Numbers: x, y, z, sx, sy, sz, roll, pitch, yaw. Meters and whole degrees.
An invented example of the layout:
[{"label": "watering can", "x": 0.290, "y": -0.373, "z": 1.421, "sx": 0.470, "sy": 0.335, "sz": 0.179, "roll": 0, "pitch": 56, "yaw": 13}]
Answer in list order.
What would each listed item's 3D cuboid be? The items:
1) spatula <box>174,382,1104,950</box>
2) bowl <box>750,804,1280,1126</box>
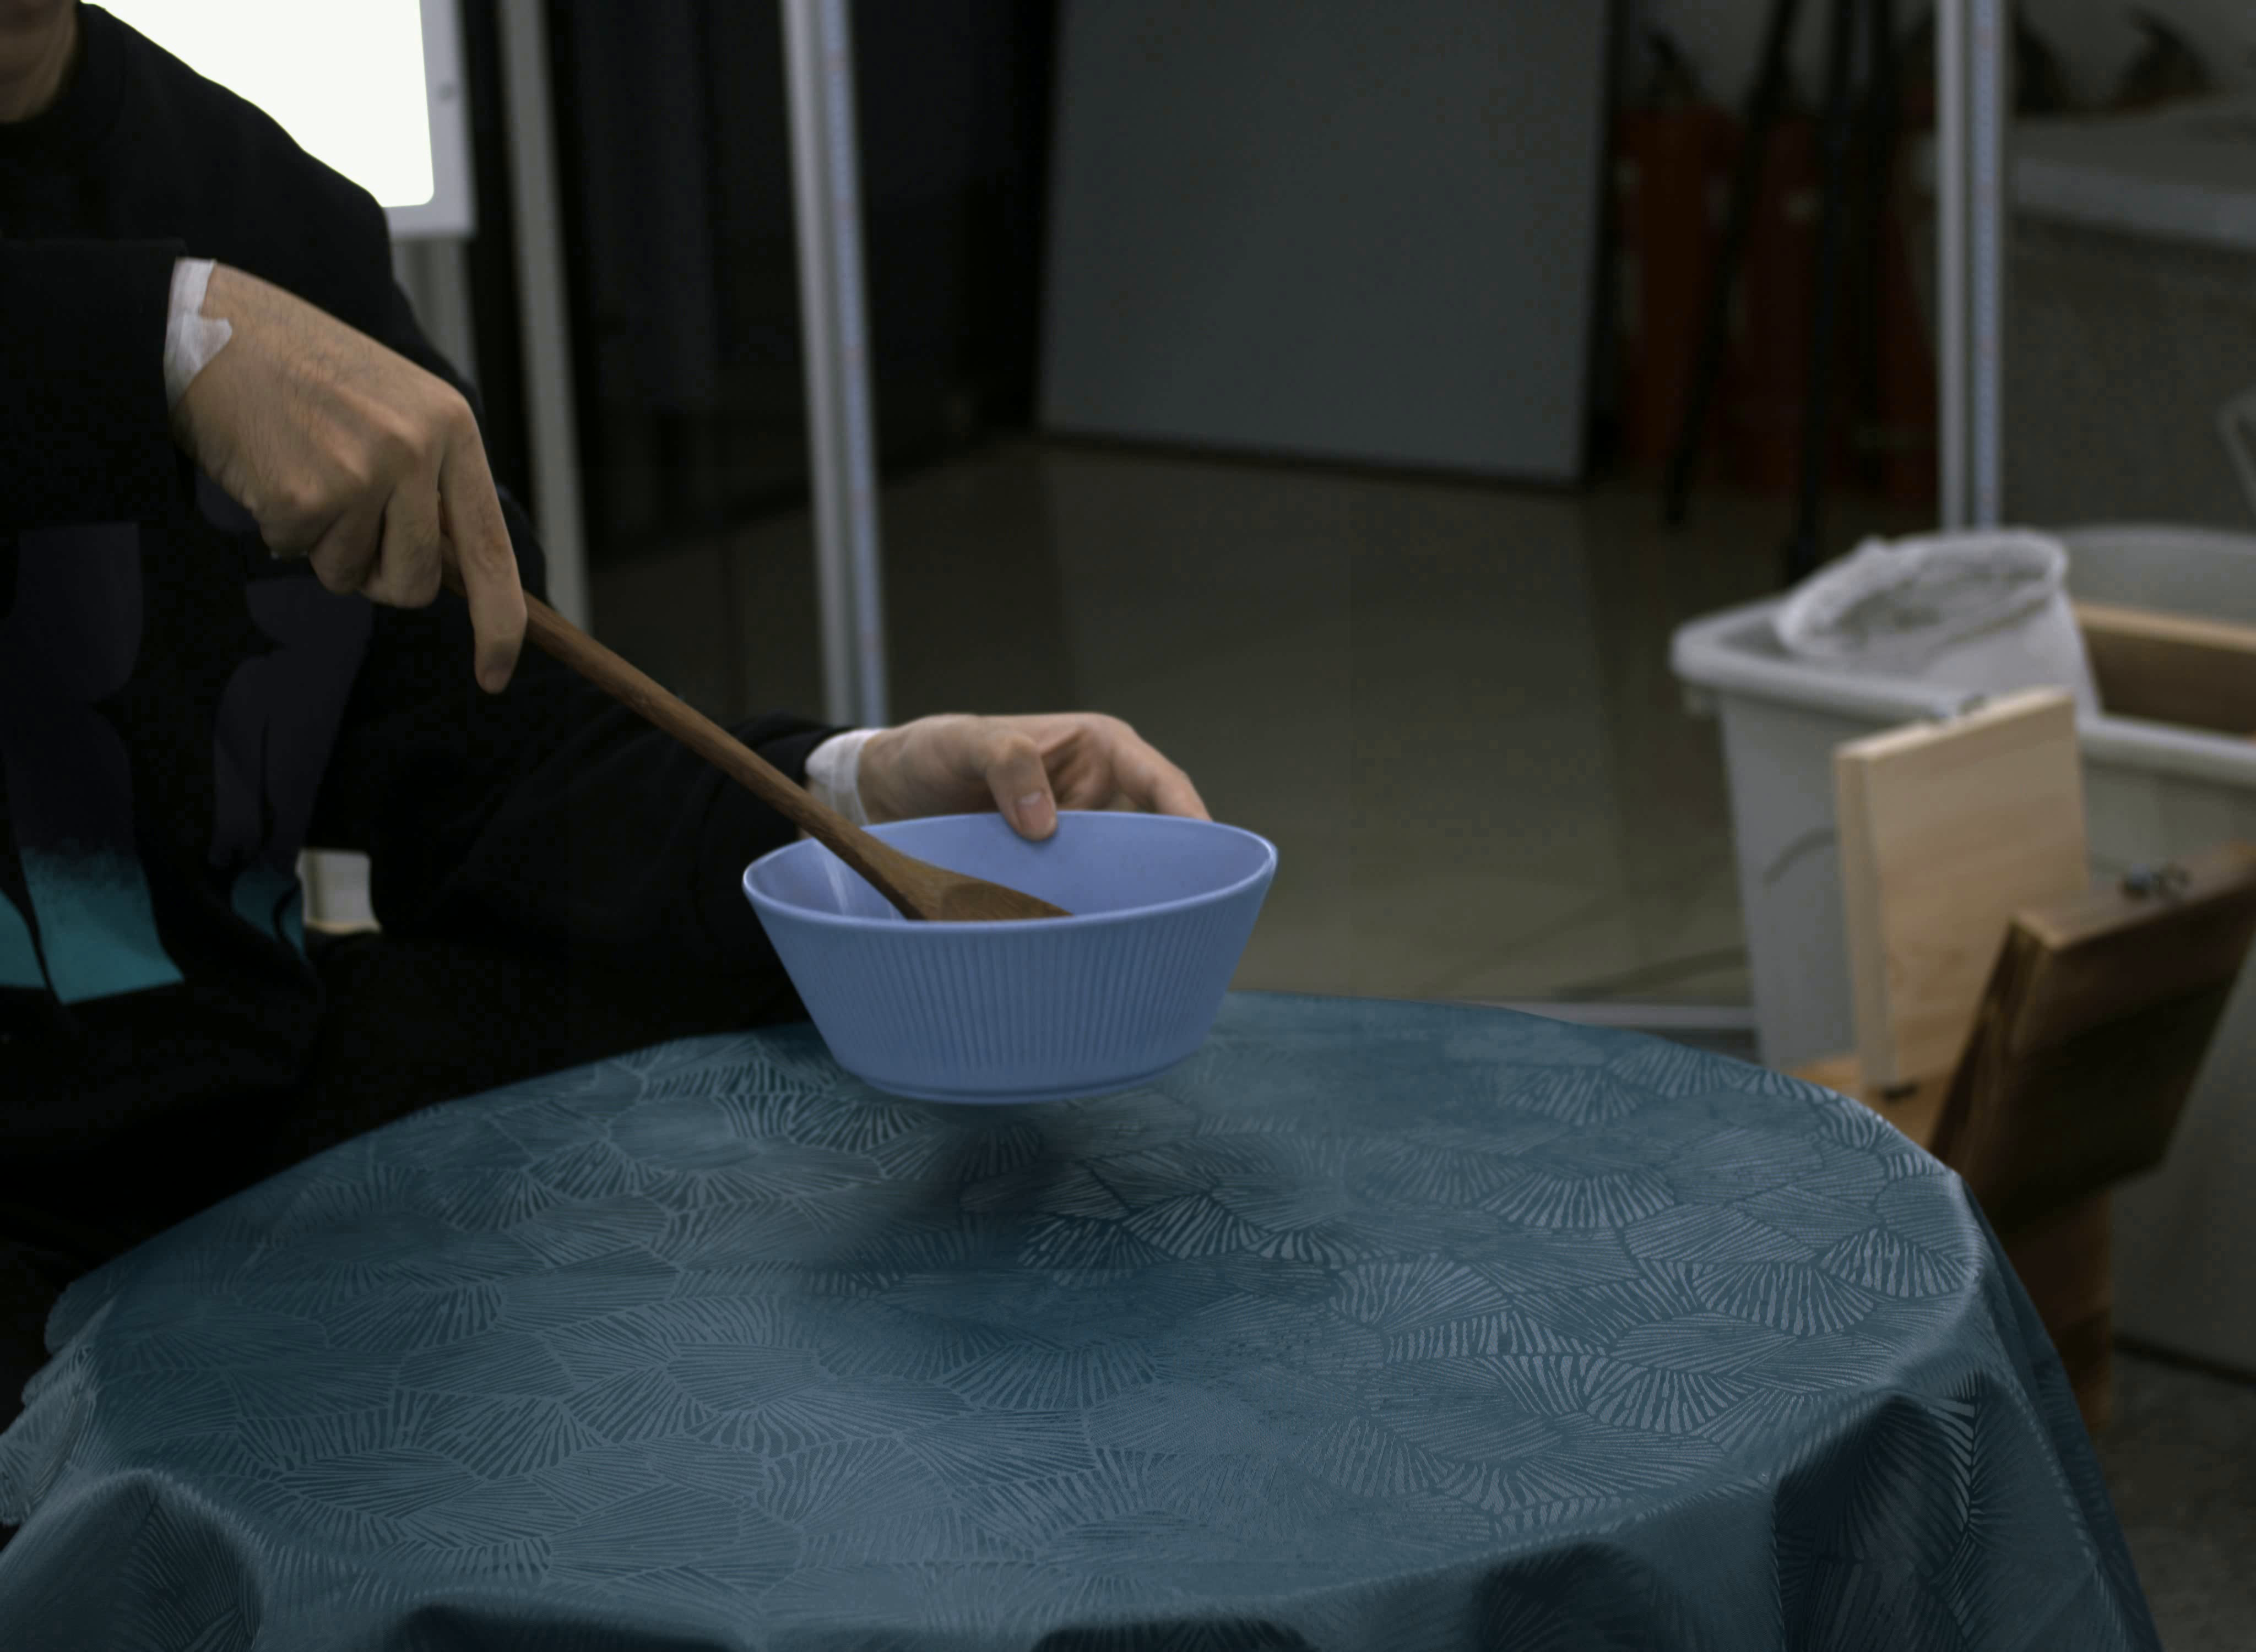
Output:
[{"label": "spatula", "x": -0.145, "y": -0.035, "z": 1.751, "sx": 0.383, "sy": 0.016, "sz": 0.096, "roll": 35, "pitch": 19, "yaw": -2}, {"label": "bowl", "x": -0.034, "y": 0.048, "z": 1.754, "sx": 0.174, "sy": 0.071, "sz": 0.176, "roll": -6, "pitch": 15, "yaw": 1}]
